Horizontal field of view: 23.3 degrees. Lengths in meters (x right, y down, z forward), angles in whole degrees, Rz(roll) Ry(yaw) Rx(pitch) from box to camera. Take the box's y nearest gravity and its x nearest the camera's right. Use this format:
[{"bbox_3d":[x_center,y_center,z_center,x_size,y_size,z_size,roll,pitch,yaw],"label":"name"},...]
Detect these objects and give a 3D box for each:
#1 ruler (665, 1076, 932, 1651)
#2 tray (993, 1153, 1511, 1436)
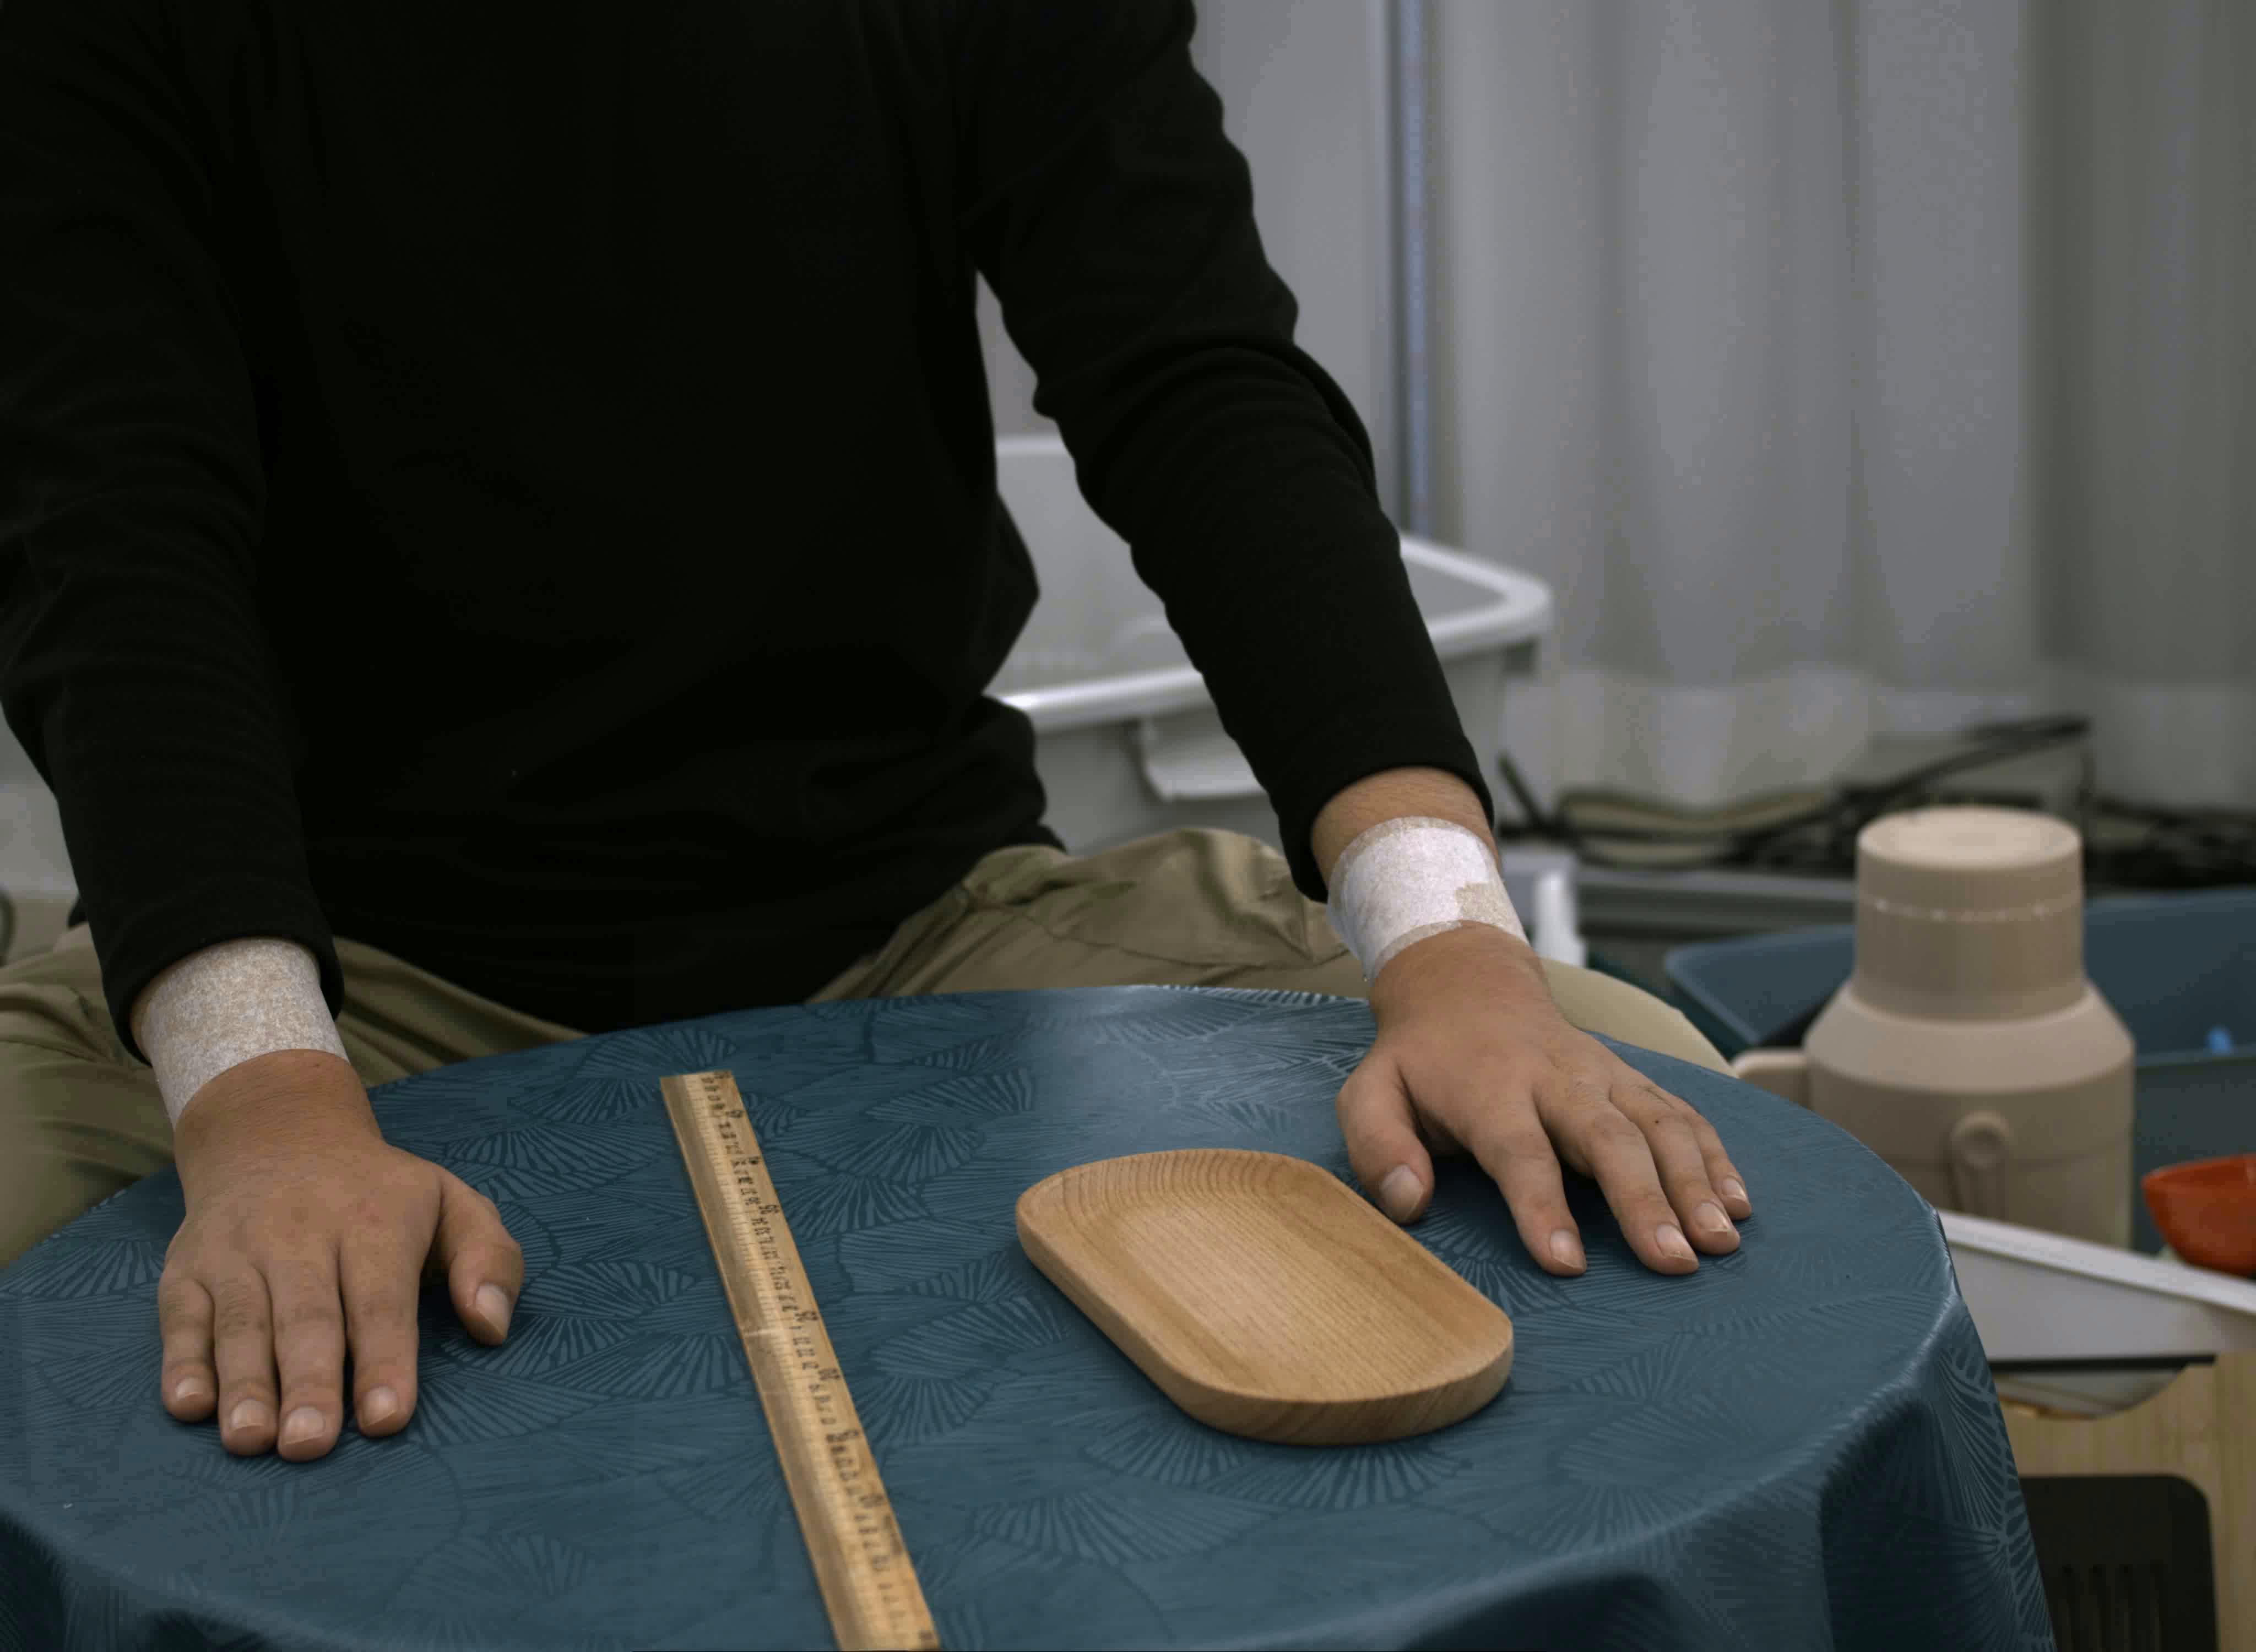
[{"bbox_3d":[-0.101,0.147,1.602,0.026,0.006,0.504,-3,15,-9],"label":"ruler"},{"bbox_3d":[0.034,0.135,1.600,0.101,0.020,0.233,-6,13,-20],"label":"tray"}]
